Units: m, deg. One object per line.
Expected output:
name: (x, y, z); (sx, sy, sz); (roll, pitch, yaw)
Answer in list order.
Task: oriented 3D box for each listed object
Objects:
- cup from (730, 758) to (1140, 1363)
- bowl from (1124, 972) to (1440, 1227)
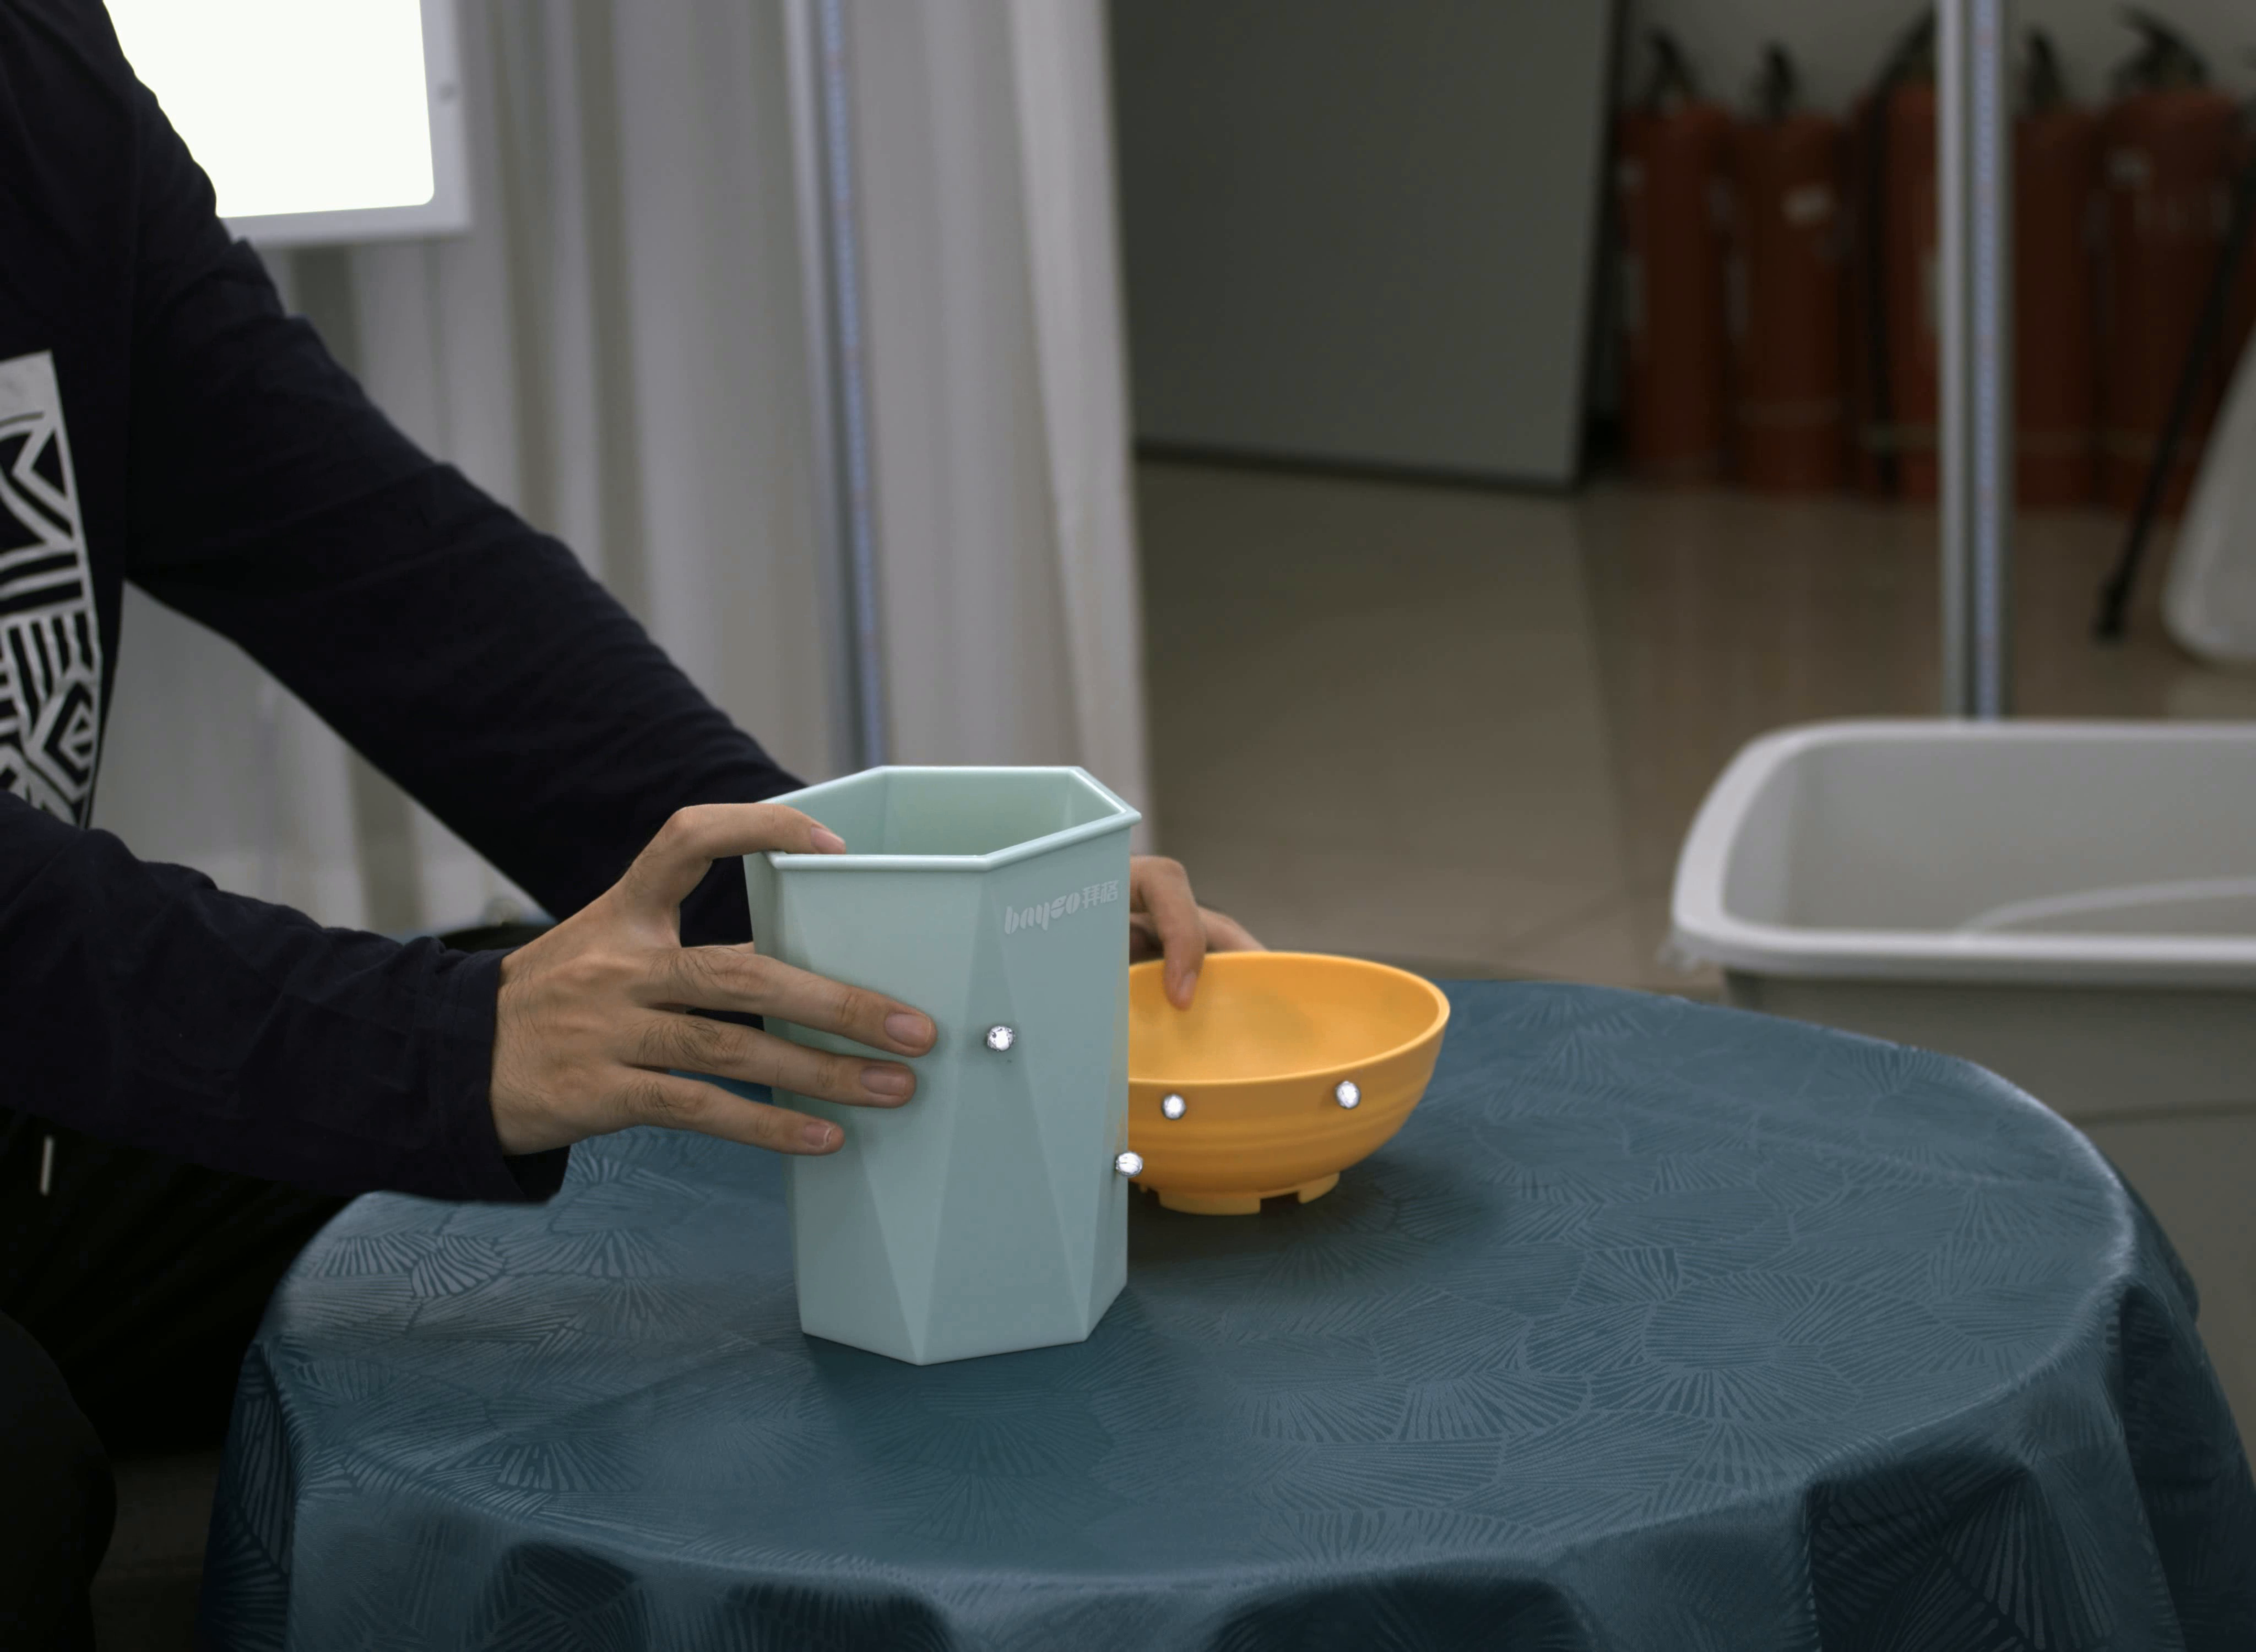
cup: (-0.053, 0.071, 1.651); (0.116, 0.165, 0.128); (7, 16, 43)
bowl: (0.033, 0.093, 1.767); (0.143, 0.061, 0.145); (-5, 12, 0)
